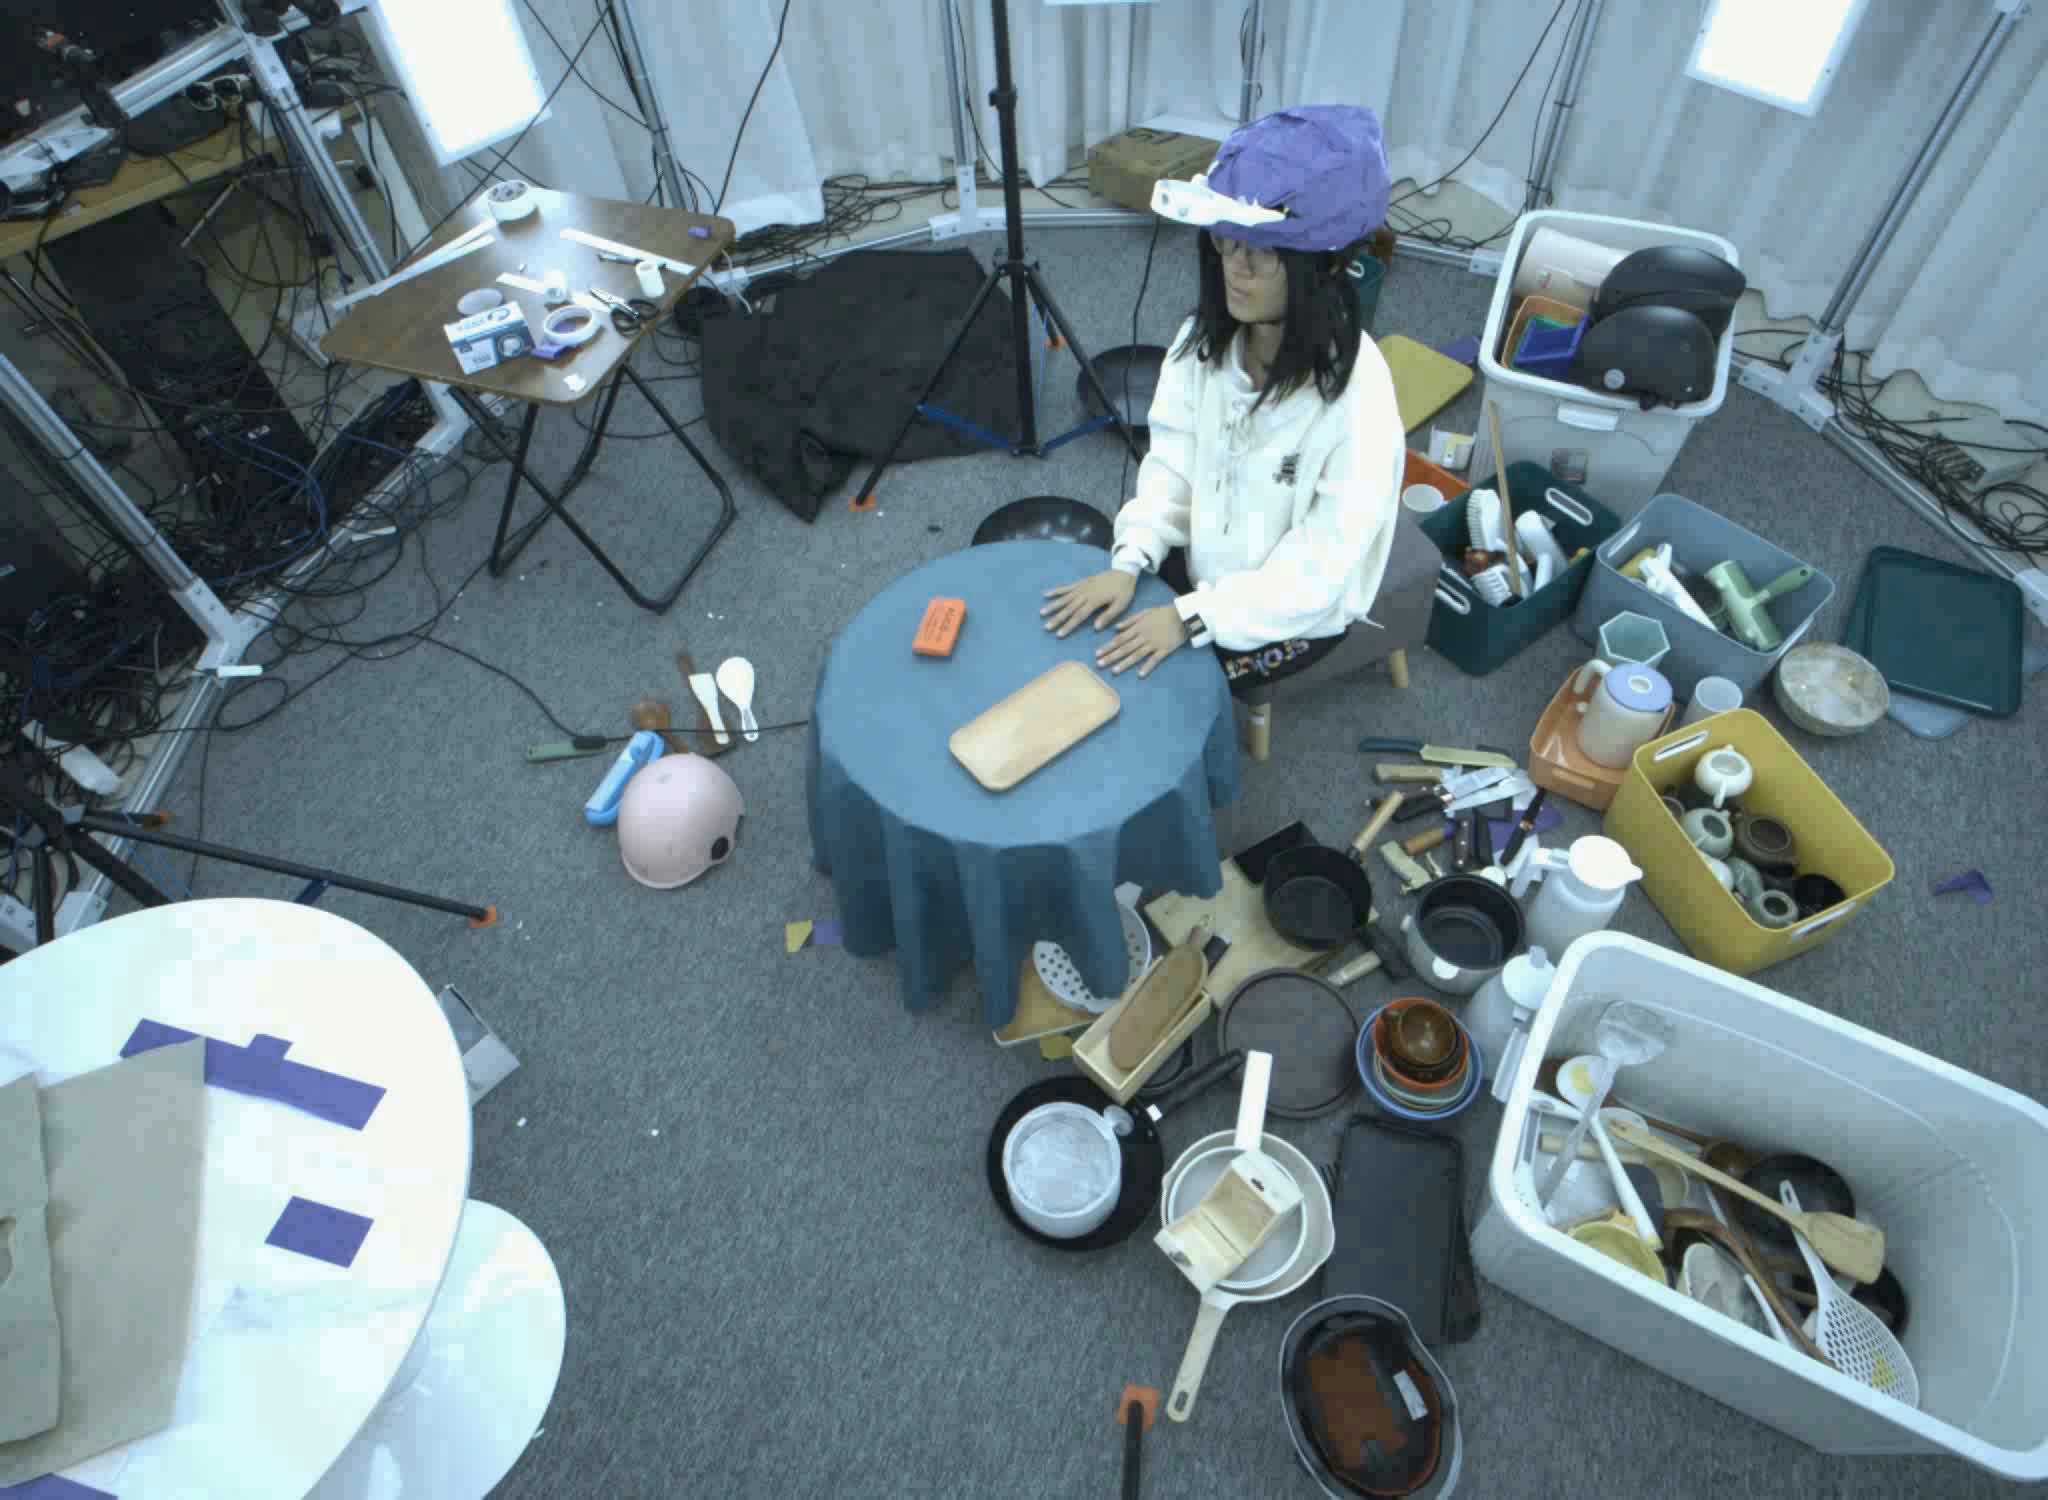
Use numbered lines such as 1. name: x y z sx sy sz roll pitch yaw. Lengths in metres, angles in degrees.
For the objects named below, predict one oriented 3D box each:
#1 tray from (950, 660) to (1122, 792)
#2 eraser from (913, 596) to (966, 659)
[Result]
1. tray: 0.018 -0.037 1.802 0.253 0.023 0.128 -33 63 -20
2. eraser: -0.132 -0.192 1.914 0.058 0.023 0.107 10 56 11
